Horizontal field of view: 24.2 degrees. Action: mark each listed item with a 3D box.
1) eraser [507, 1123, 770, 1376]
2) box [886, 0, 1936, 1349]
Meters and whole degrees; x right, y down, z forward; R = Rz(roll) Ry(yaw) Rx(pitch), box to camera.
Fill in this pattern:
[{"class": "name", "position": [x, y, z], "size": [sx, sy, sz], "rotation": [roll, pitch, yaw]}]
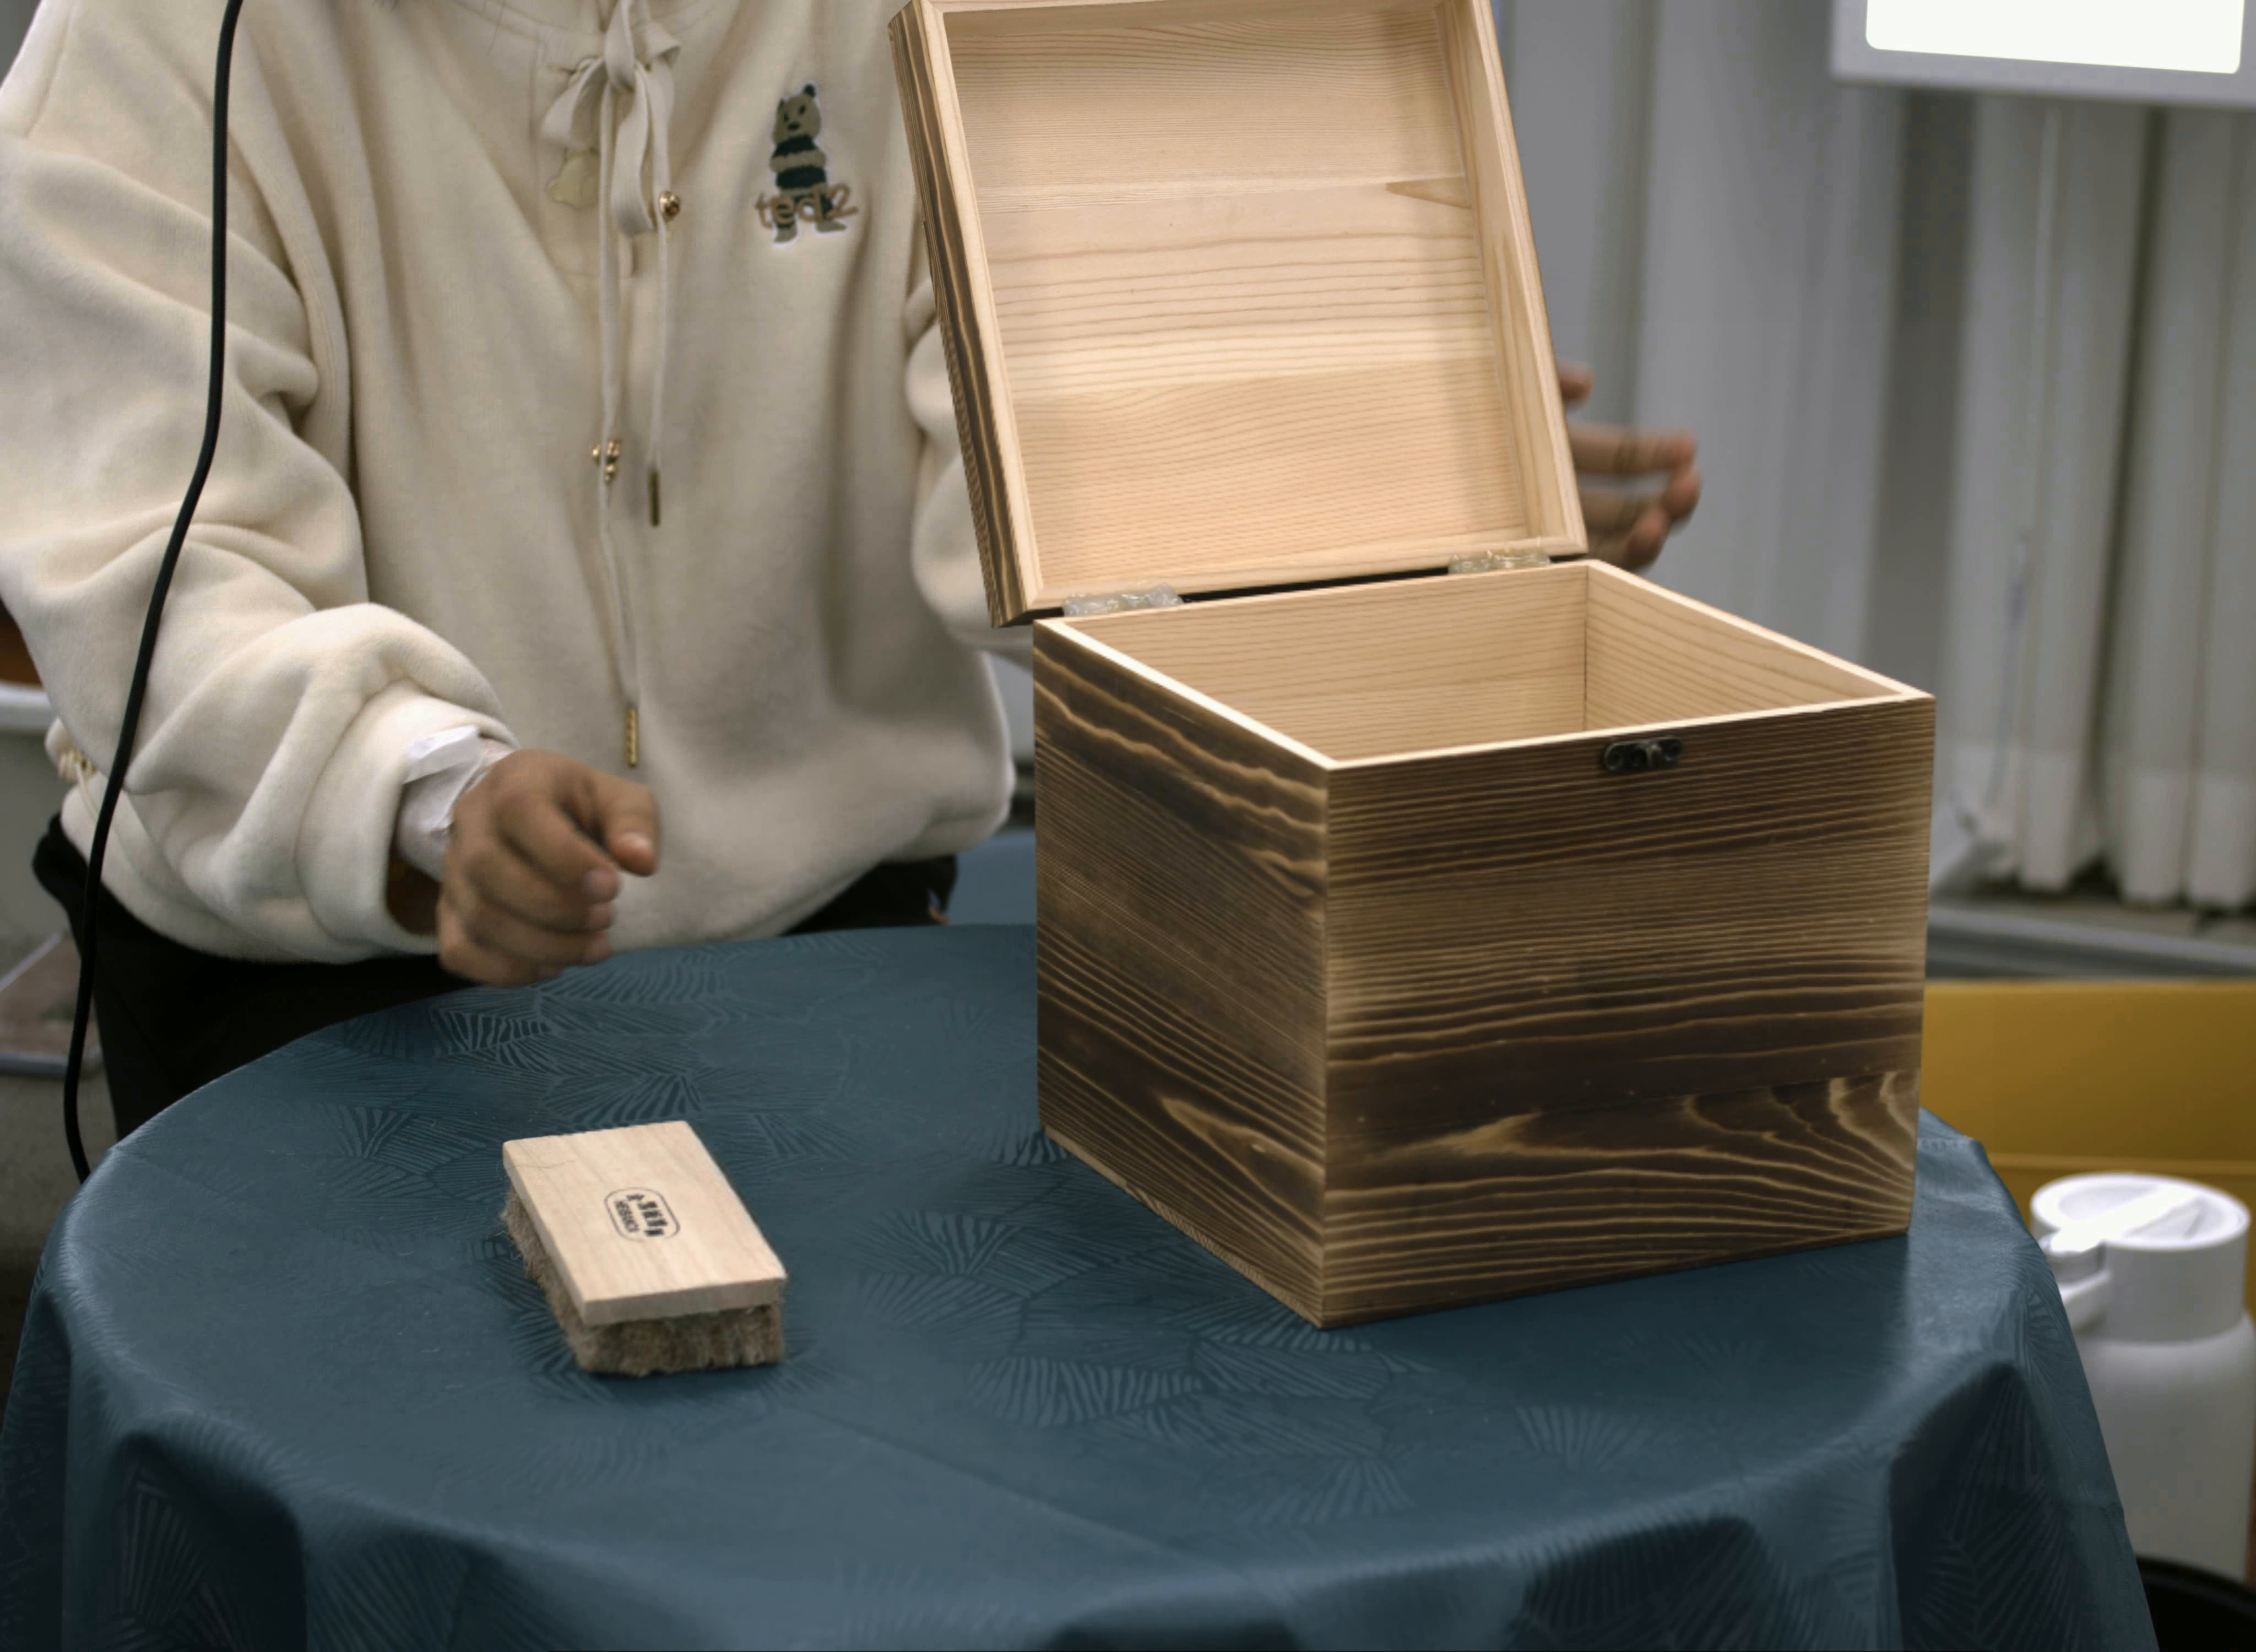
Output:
[{"class": "eraser", "position": [-0.143, 0.123, 1.526], "size": [0.057, 0.029, 0.138], "rotation": [-6, 16, -13]}, {"class": "box", "position": [0.080, -0.077, 1.623], "size": [0.209, 0.378, 0.318], "rotation": [-8, 18, -25]}]
